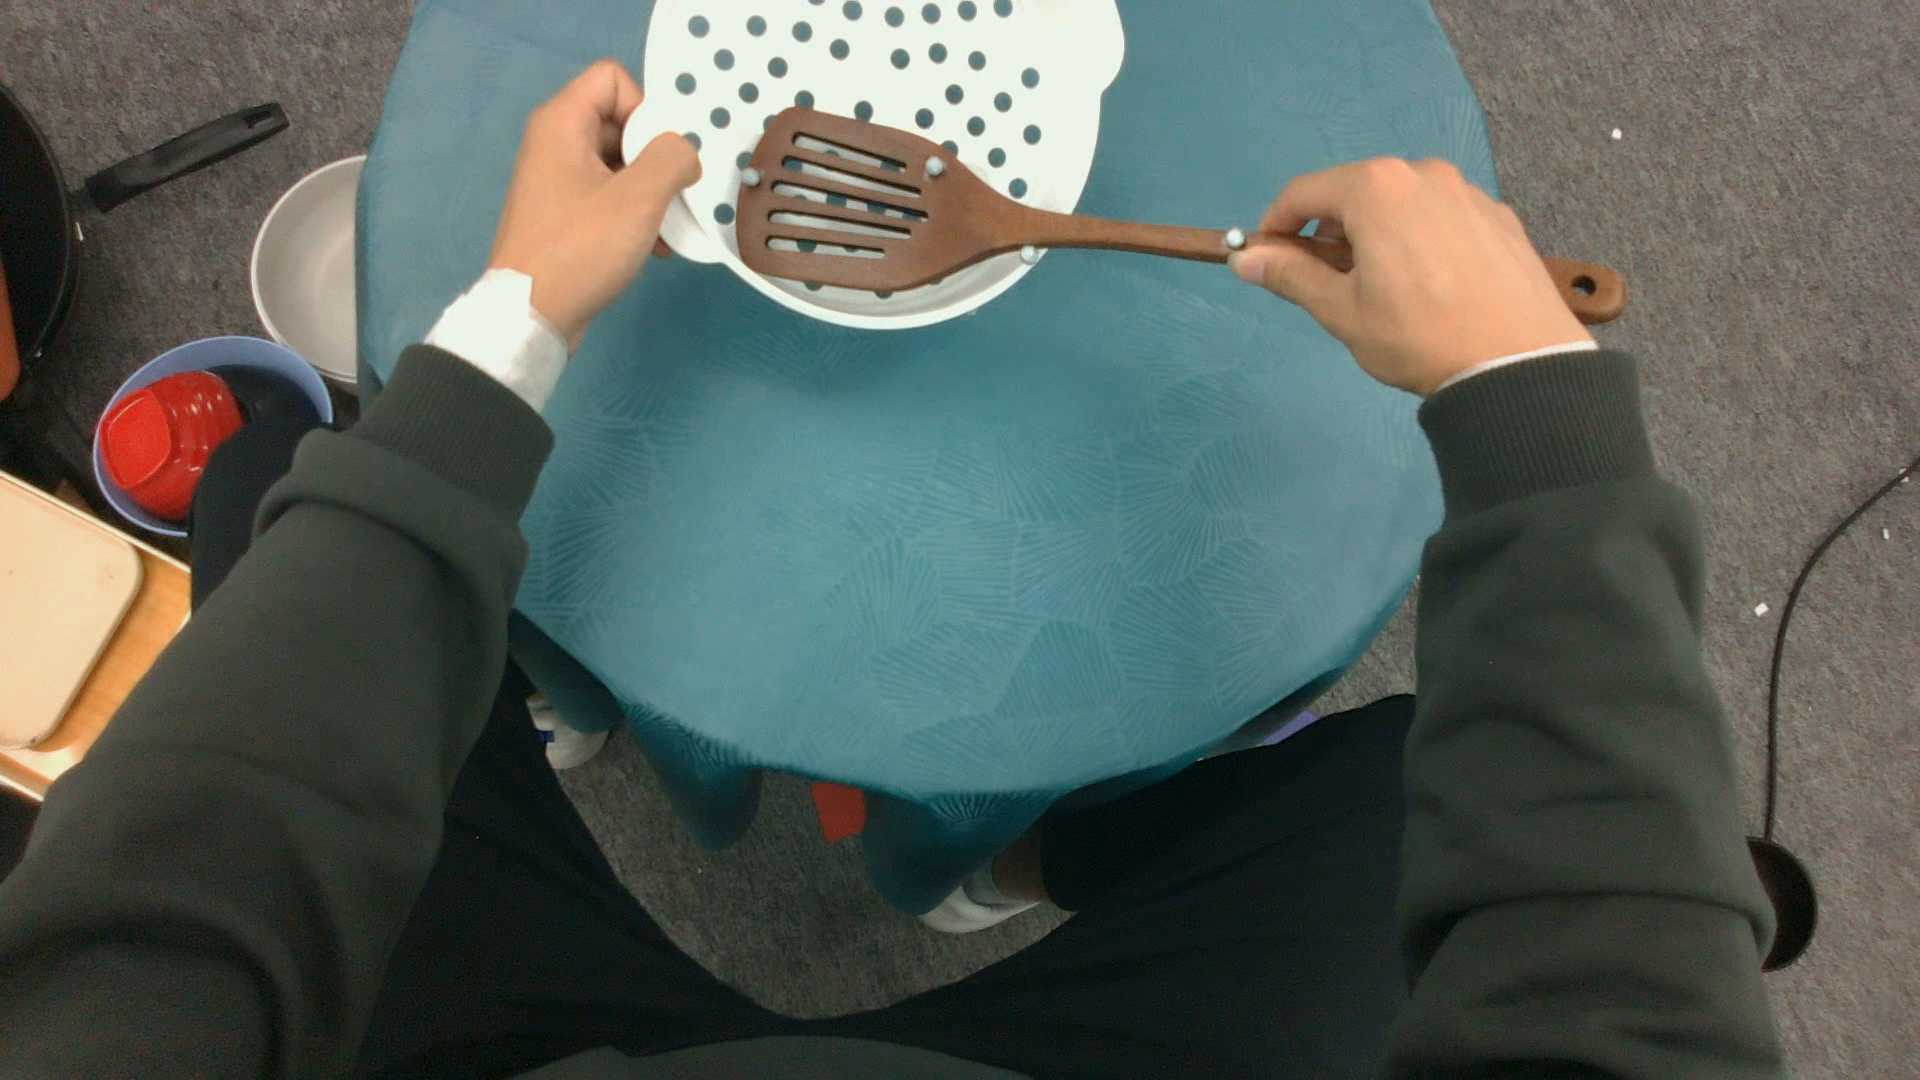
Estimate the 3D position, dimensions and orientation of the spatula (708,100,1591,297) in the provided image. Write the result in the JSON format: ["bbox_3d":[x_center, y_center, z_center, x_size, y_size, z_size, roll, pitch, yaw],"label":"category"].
[{"bbox_3d":[0.072,-0.139,0.606,0.385,0.023,0.086,9,78,15],"label":"spatula"}]

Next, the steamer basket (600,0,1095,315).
[{"bbox_3d":[-0.052,-0.209,0.644,0.230,0.069,0.201,-25,105,-1],"label":"steamer basket"}]
